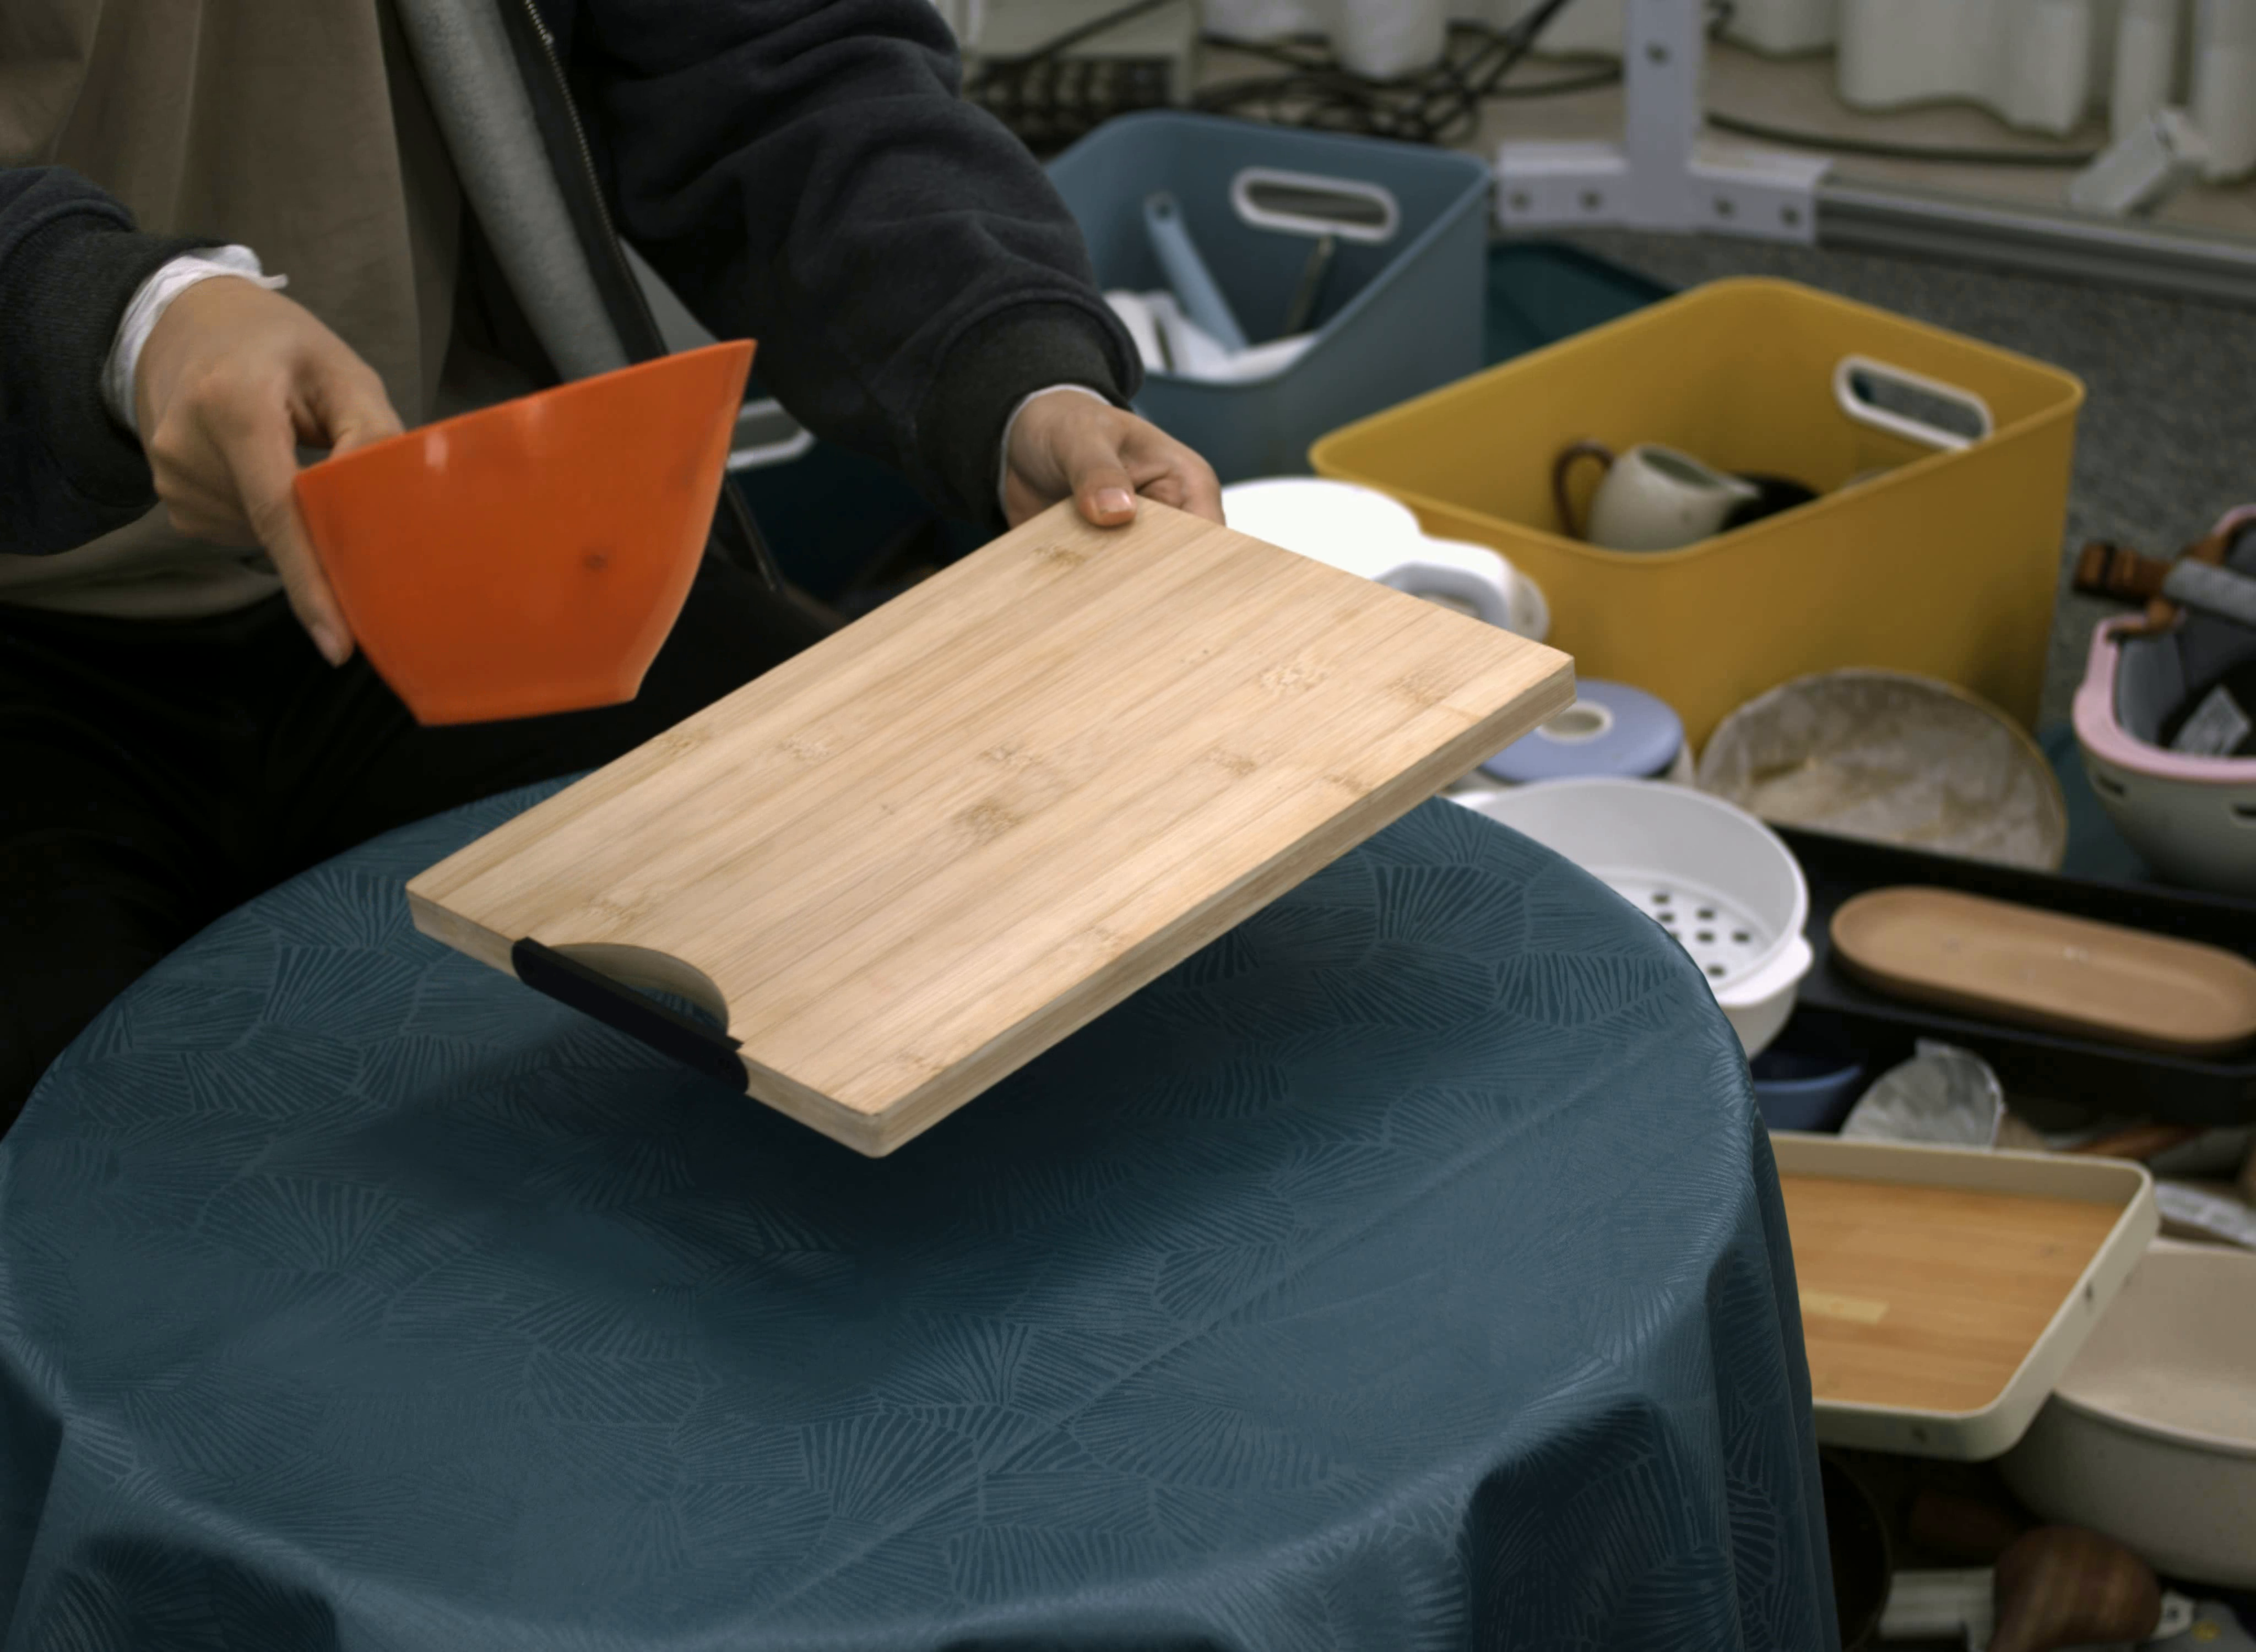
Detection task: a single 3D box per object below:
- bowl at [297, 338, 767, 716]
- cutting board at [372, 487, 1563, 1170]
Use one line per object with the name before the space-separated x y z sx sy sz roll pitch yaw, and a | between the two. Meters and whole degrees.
bowl | -0.178 -0.089 1.728 0.147 0.105 0.148 -6 3 1
cutting board | -0.051 -0.008 1.936 0.250 0.023 0.353 21 41 40
